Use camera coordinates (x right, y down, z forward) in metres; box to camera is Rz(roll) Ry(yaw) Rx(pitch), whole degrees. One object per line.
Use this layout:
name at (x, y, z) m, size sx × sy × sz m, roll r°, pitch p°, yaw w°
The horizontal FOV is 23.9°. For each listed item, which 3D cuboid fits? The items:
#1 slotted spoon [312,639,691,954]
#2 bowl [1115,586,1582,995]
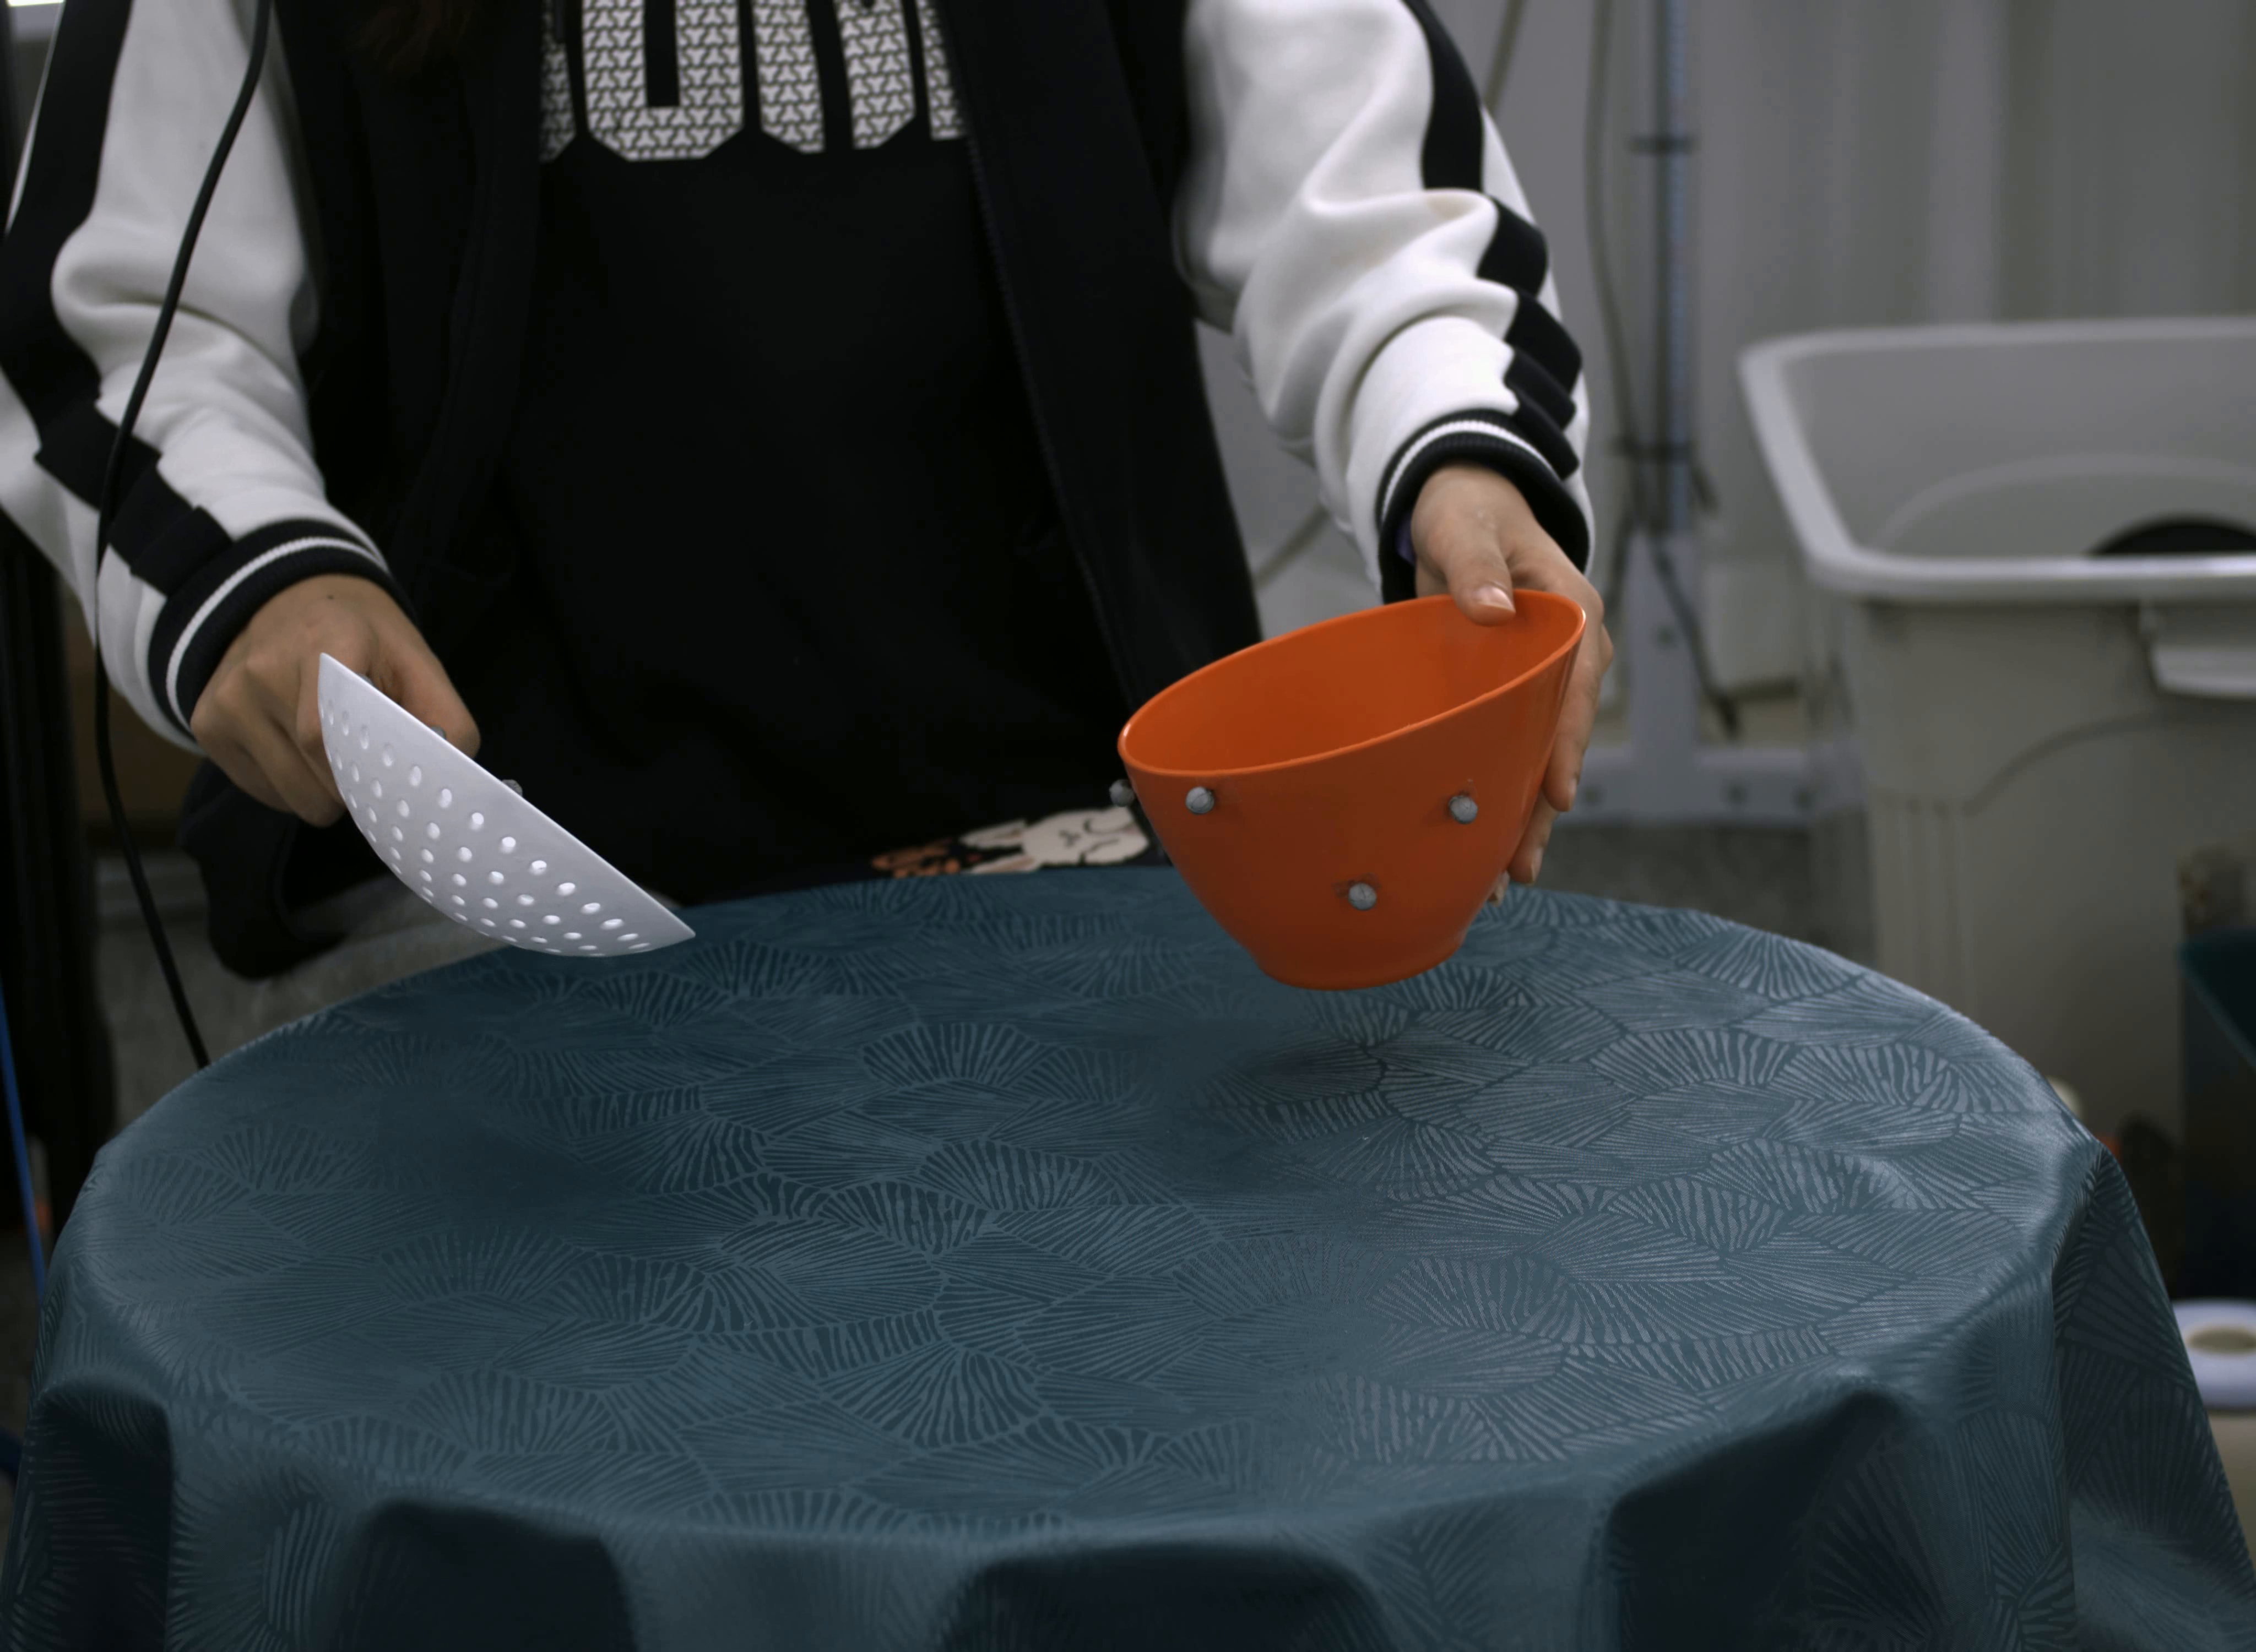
slotted spoon at (-0.217, -0.019, 1.665) m, size 0.134 × 0.046 × 0.354 m, roll 40°, pitch -1°, yaw -17°
bowl at (0.074, -0.007, 1.634) m, size 0.148 × 0.104 × 0.149 m, roll -11°, pitch 23°, yaw 3°
